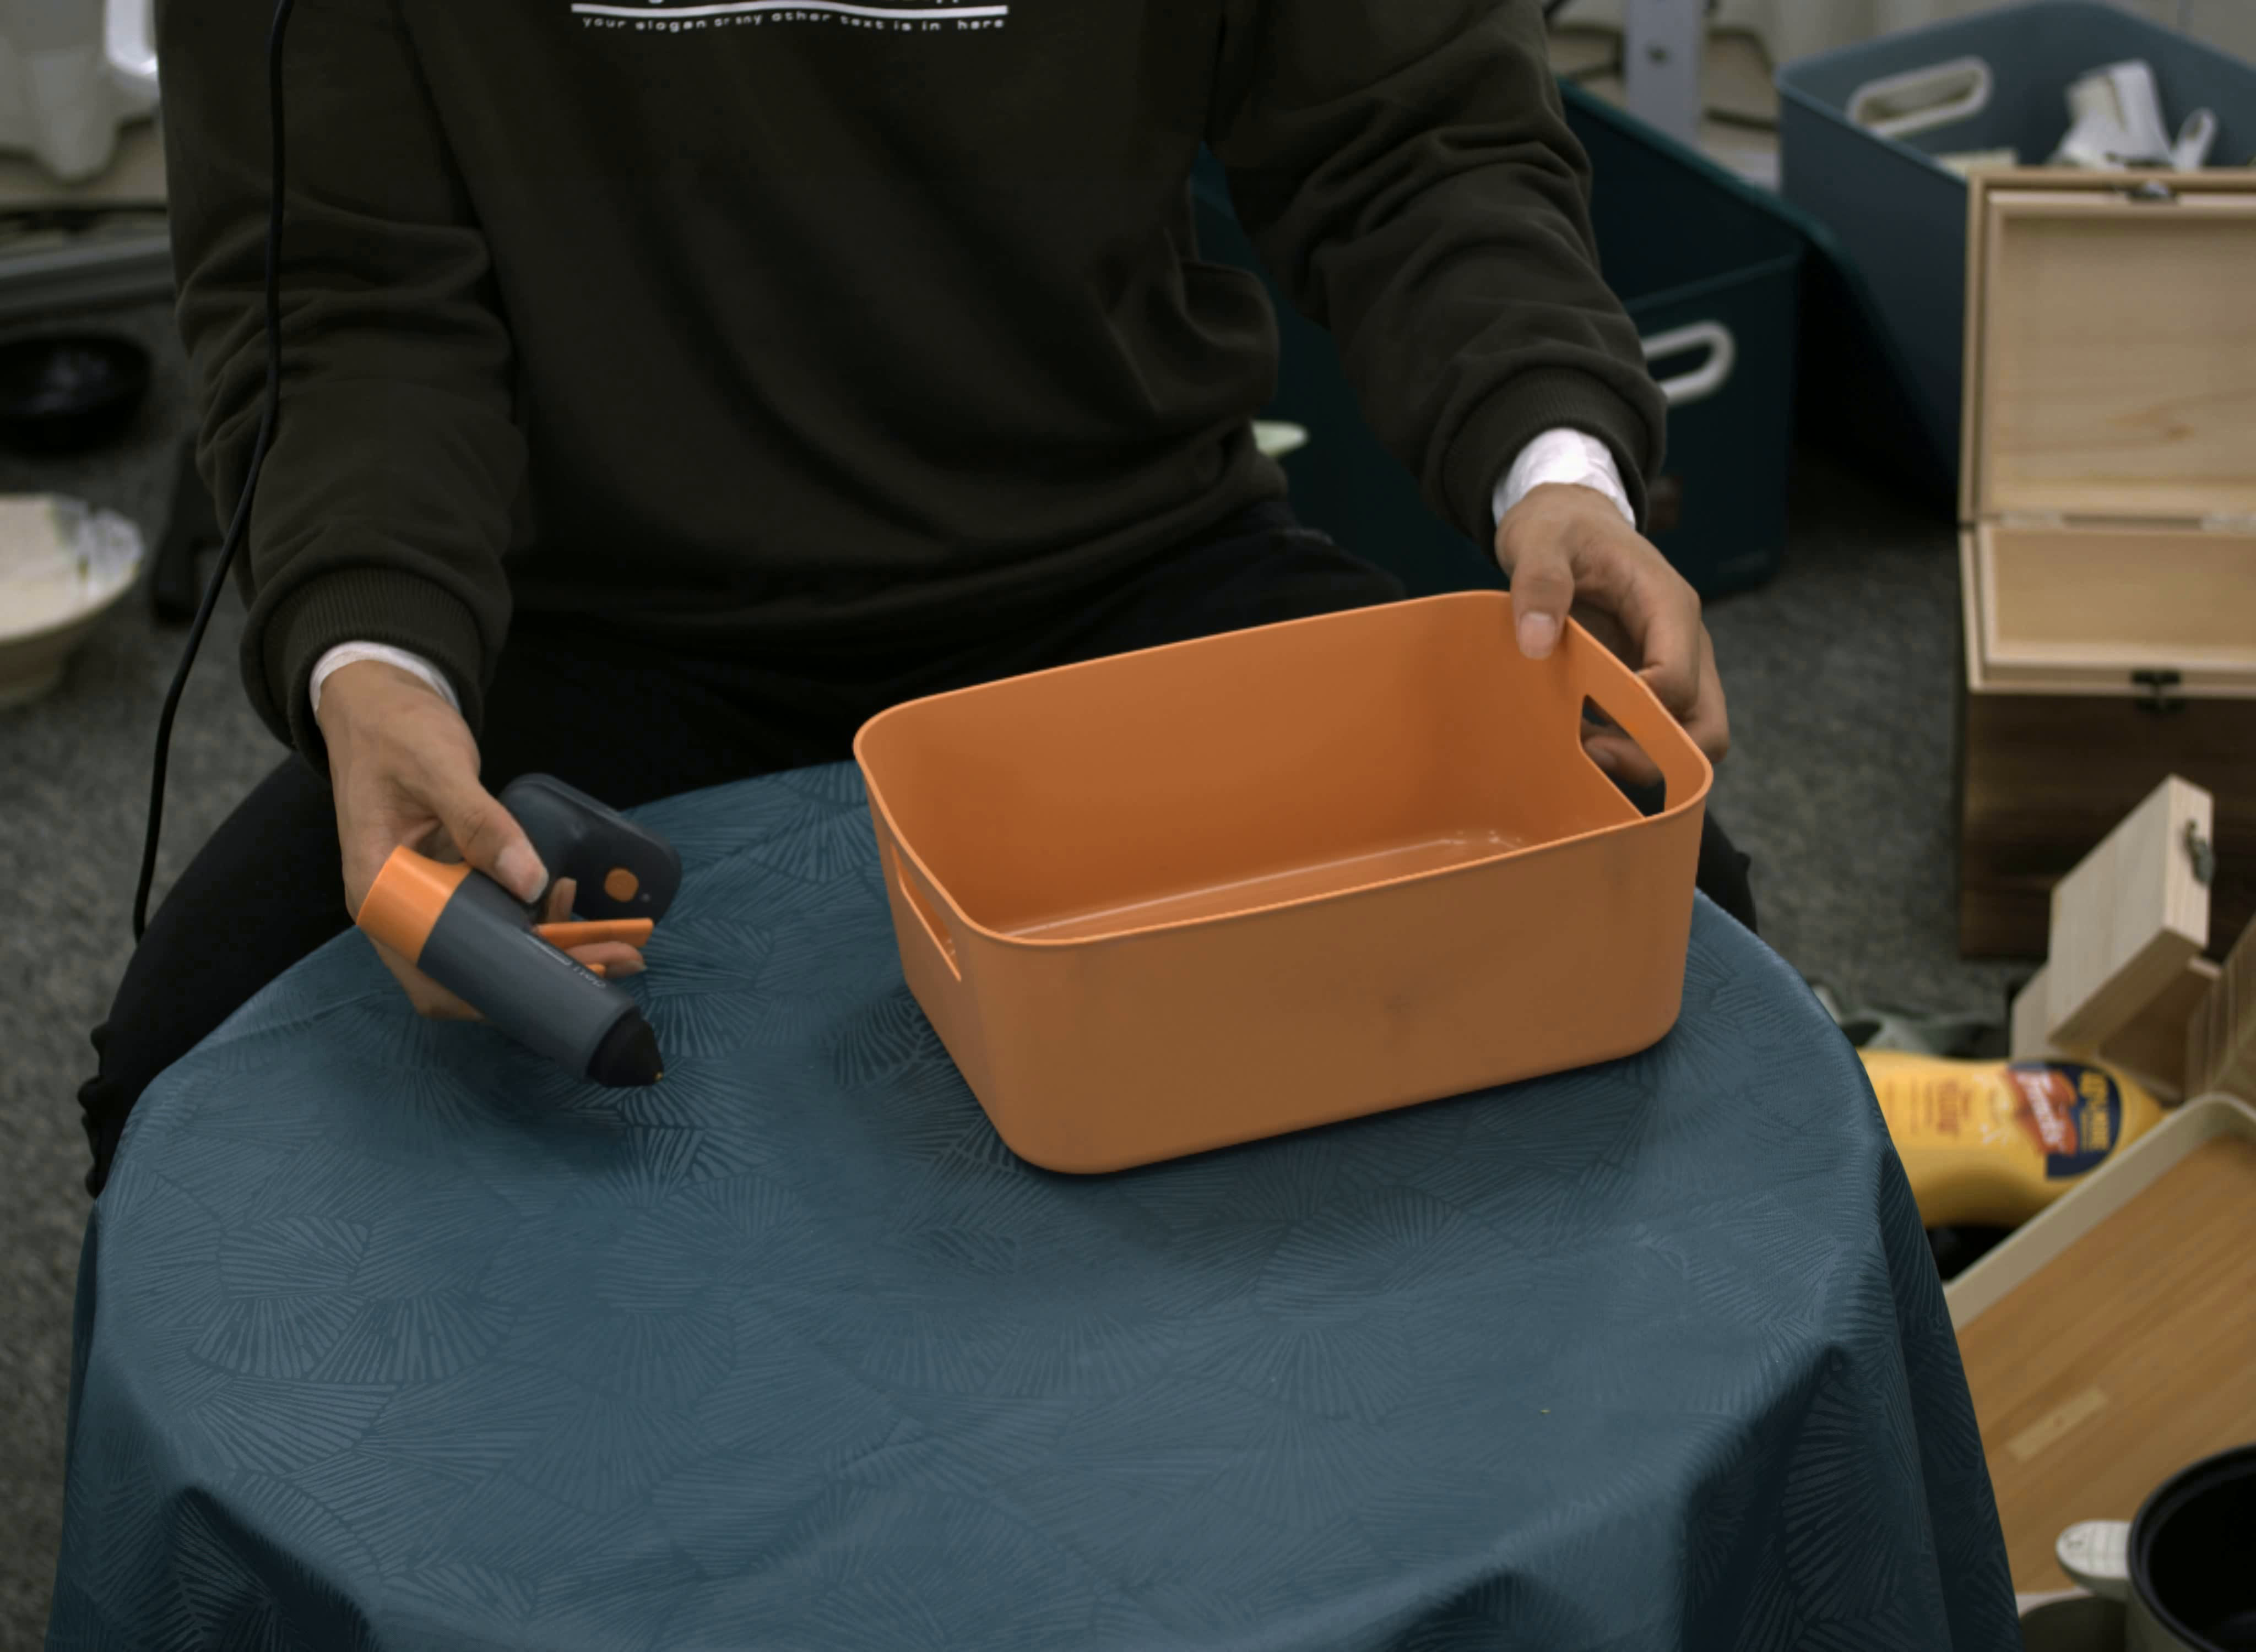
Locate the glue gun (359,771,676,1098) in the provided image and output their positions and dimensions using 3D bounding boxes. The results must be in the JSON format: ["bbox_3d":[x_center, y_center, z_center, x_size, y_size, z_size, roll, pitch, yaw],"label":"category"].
[{"bbox_3d":[-0.201,0.038,1.954,0.117,0.040,0.142,30,23,-4],"label":"glue gun"}]

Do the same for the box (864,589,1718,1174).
[{"bbox_3d":[0.055,0.019,1.948,0.273,0.101,0.201,-12,29,-16],"label":"box"}]
